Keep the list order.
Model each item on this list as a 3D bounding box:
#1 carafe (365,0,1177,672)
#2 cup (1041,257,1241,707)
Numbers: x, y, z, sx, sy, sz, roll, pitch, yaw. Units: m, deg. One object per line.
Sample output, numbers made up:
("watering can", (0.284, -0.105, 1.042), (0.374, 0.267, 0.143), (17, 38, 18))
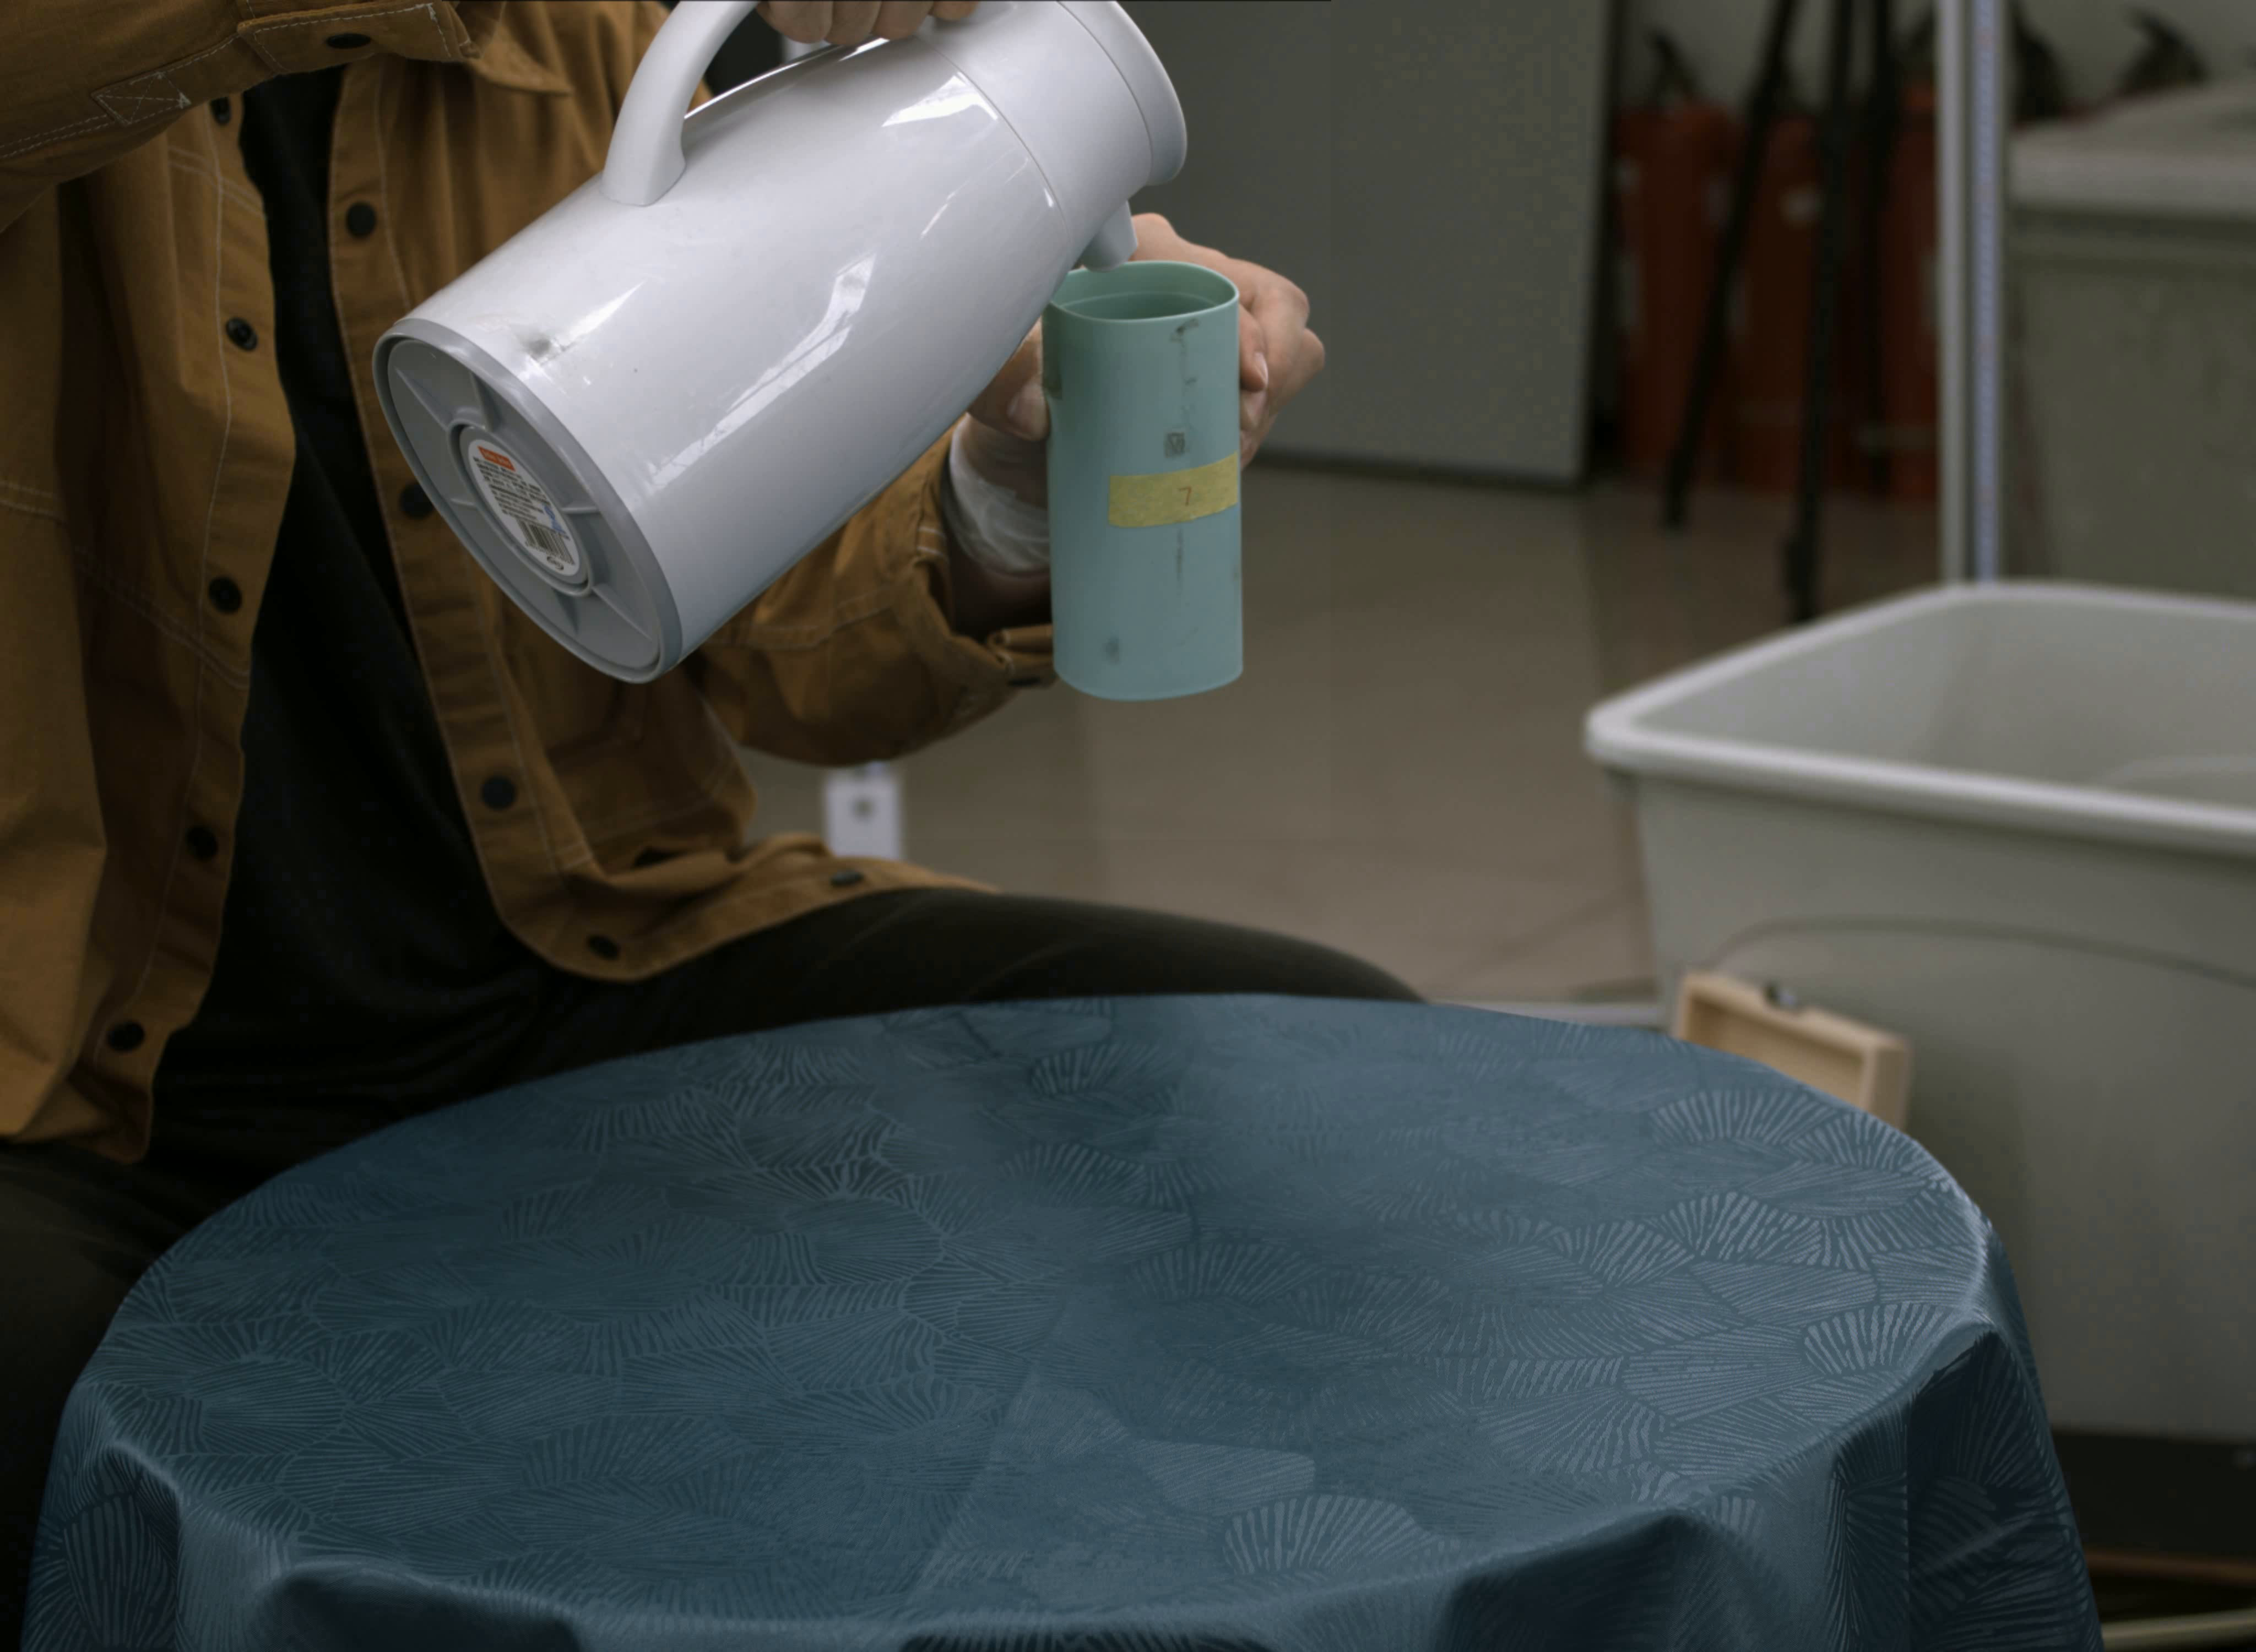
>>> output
("carafe", (-0.103, -0.188, 1.642), (0.246, 0.167, 0.134), (-41, 39, -19))
("cup", (0.005, -0.112, 1.754), (0.066, 0.133, 0.067), (-2, 21, 0))
